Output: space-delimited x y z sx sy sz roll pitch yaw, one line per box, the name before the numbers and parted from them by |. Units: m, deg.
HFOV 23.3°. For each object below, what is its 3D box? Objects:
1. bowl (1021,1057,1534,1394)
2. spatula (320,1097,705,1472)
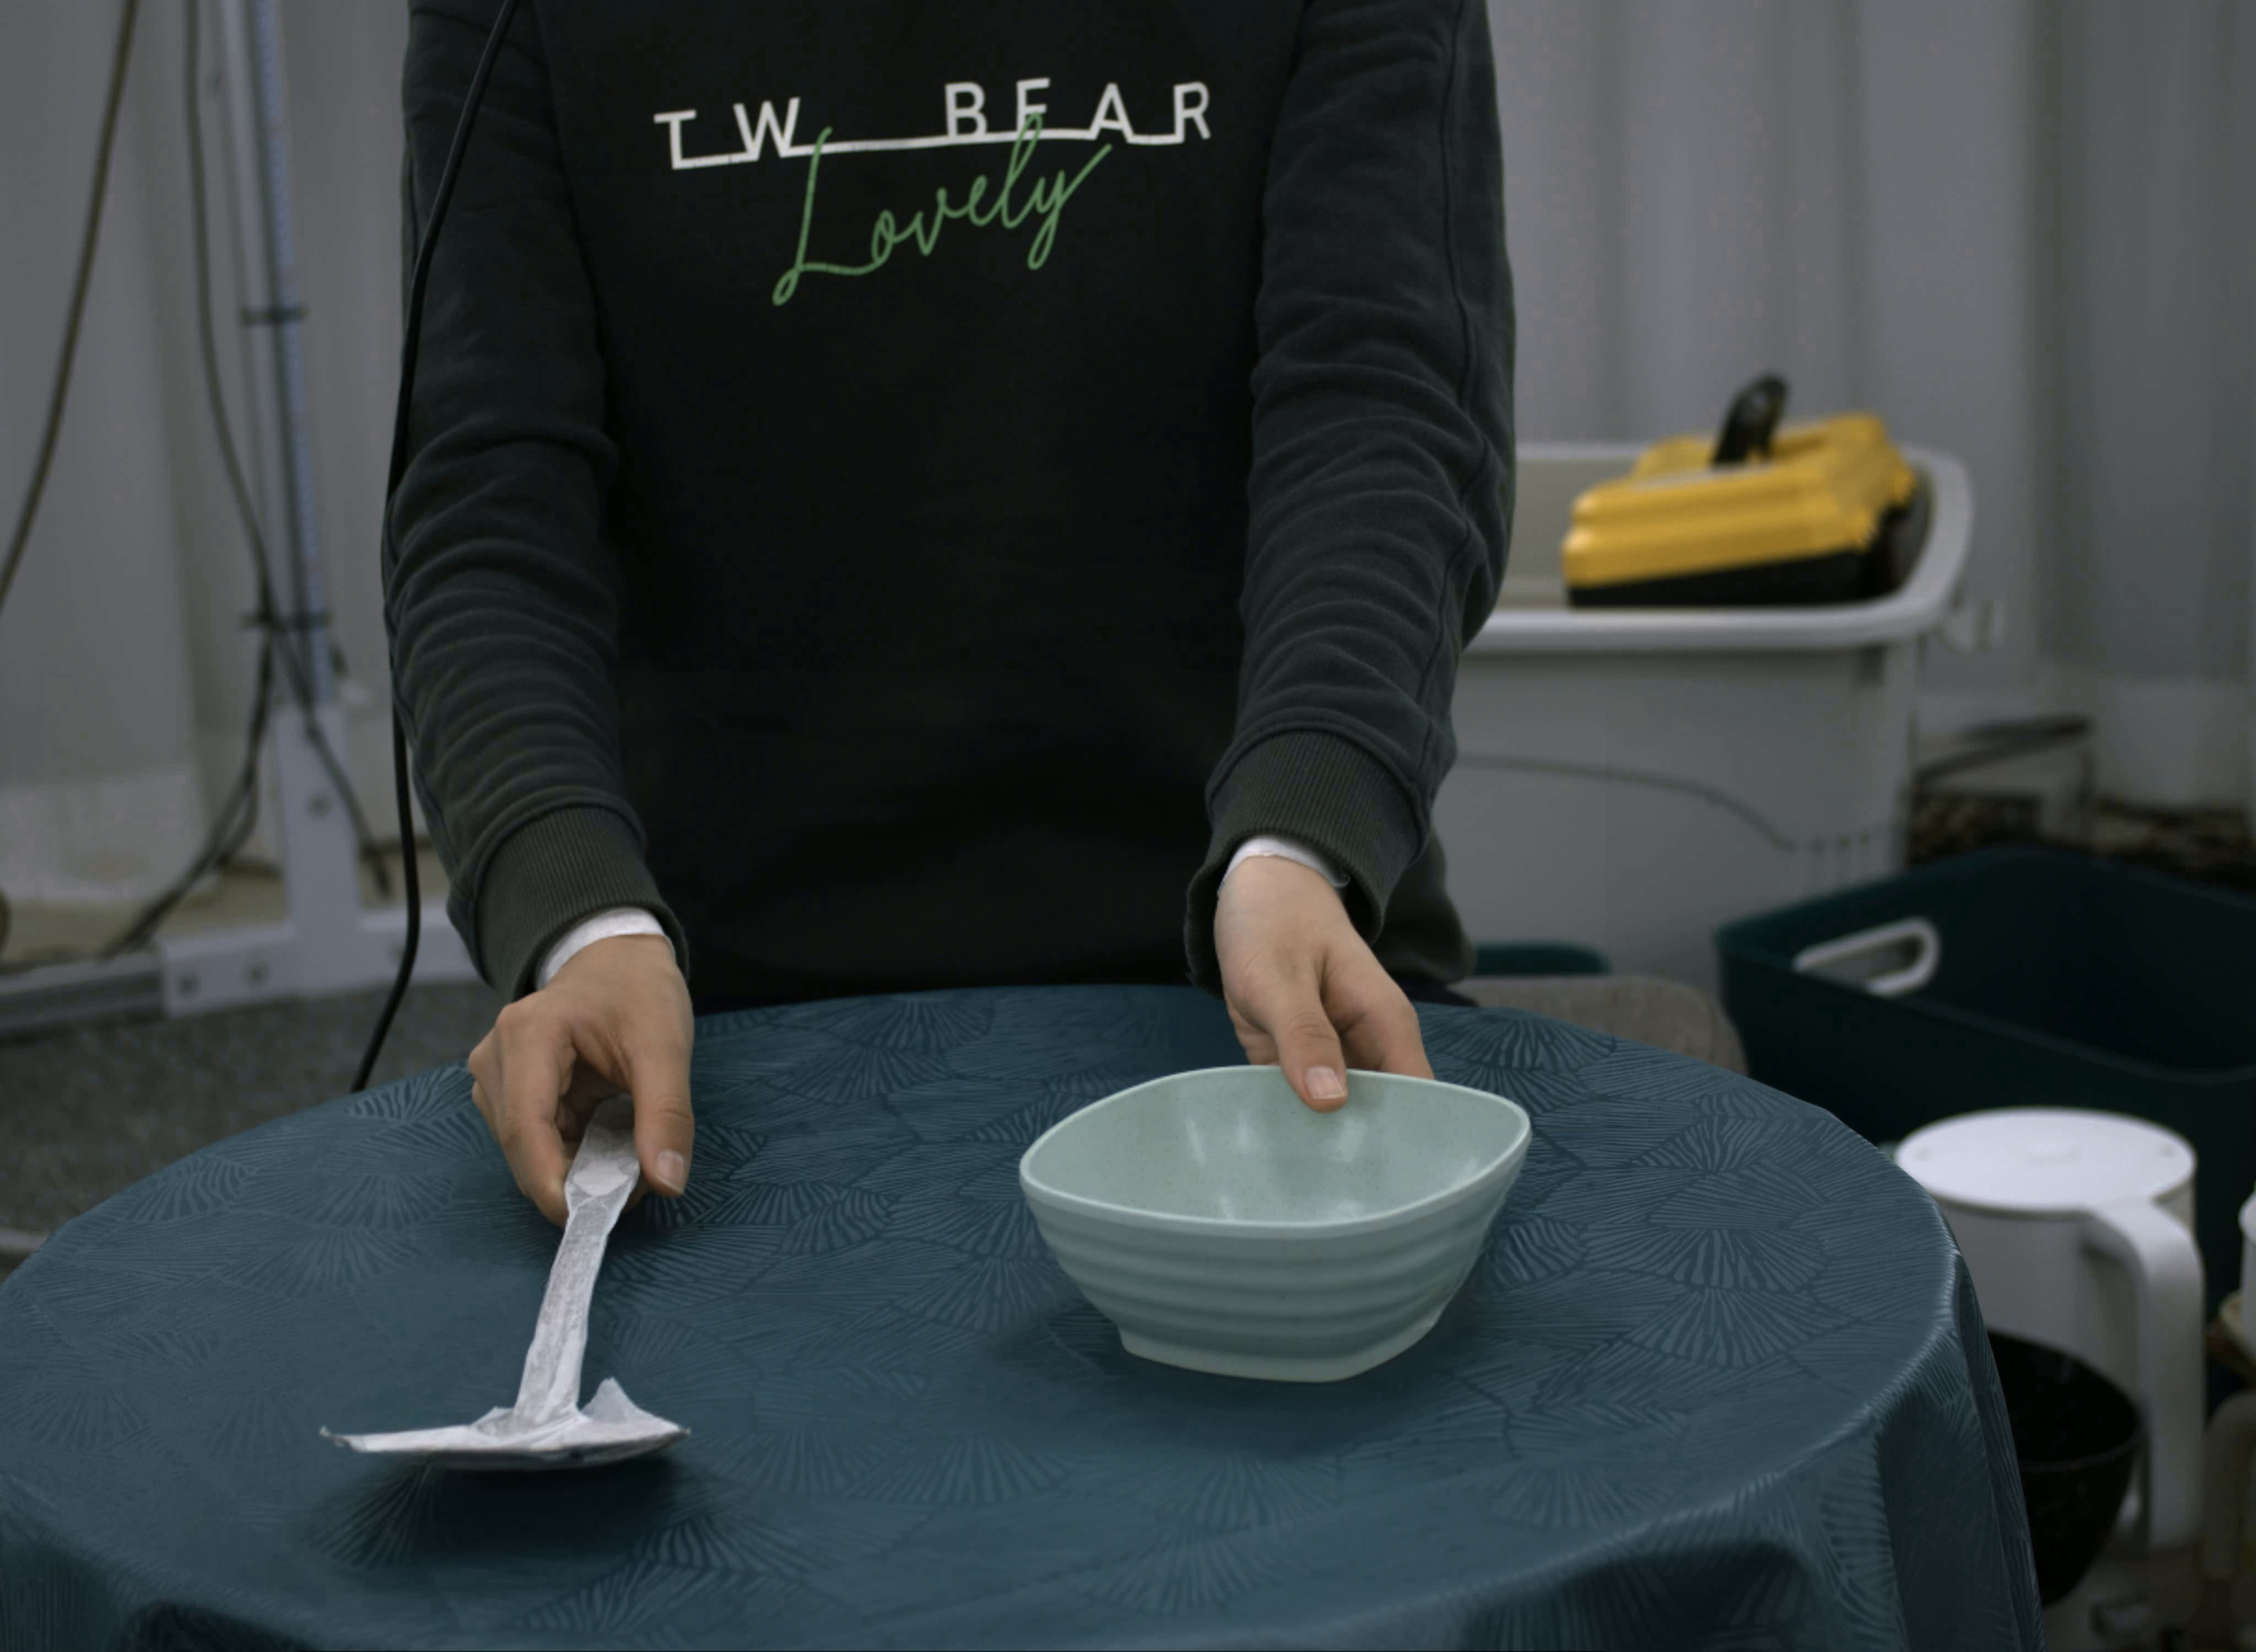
bowl | 0.044 0.119 1.583 0.151 0.058 0.152 -1 17 0
spatula | -0.159 0.127 1.610 0.098 0.044 0.367 -2 17 3
